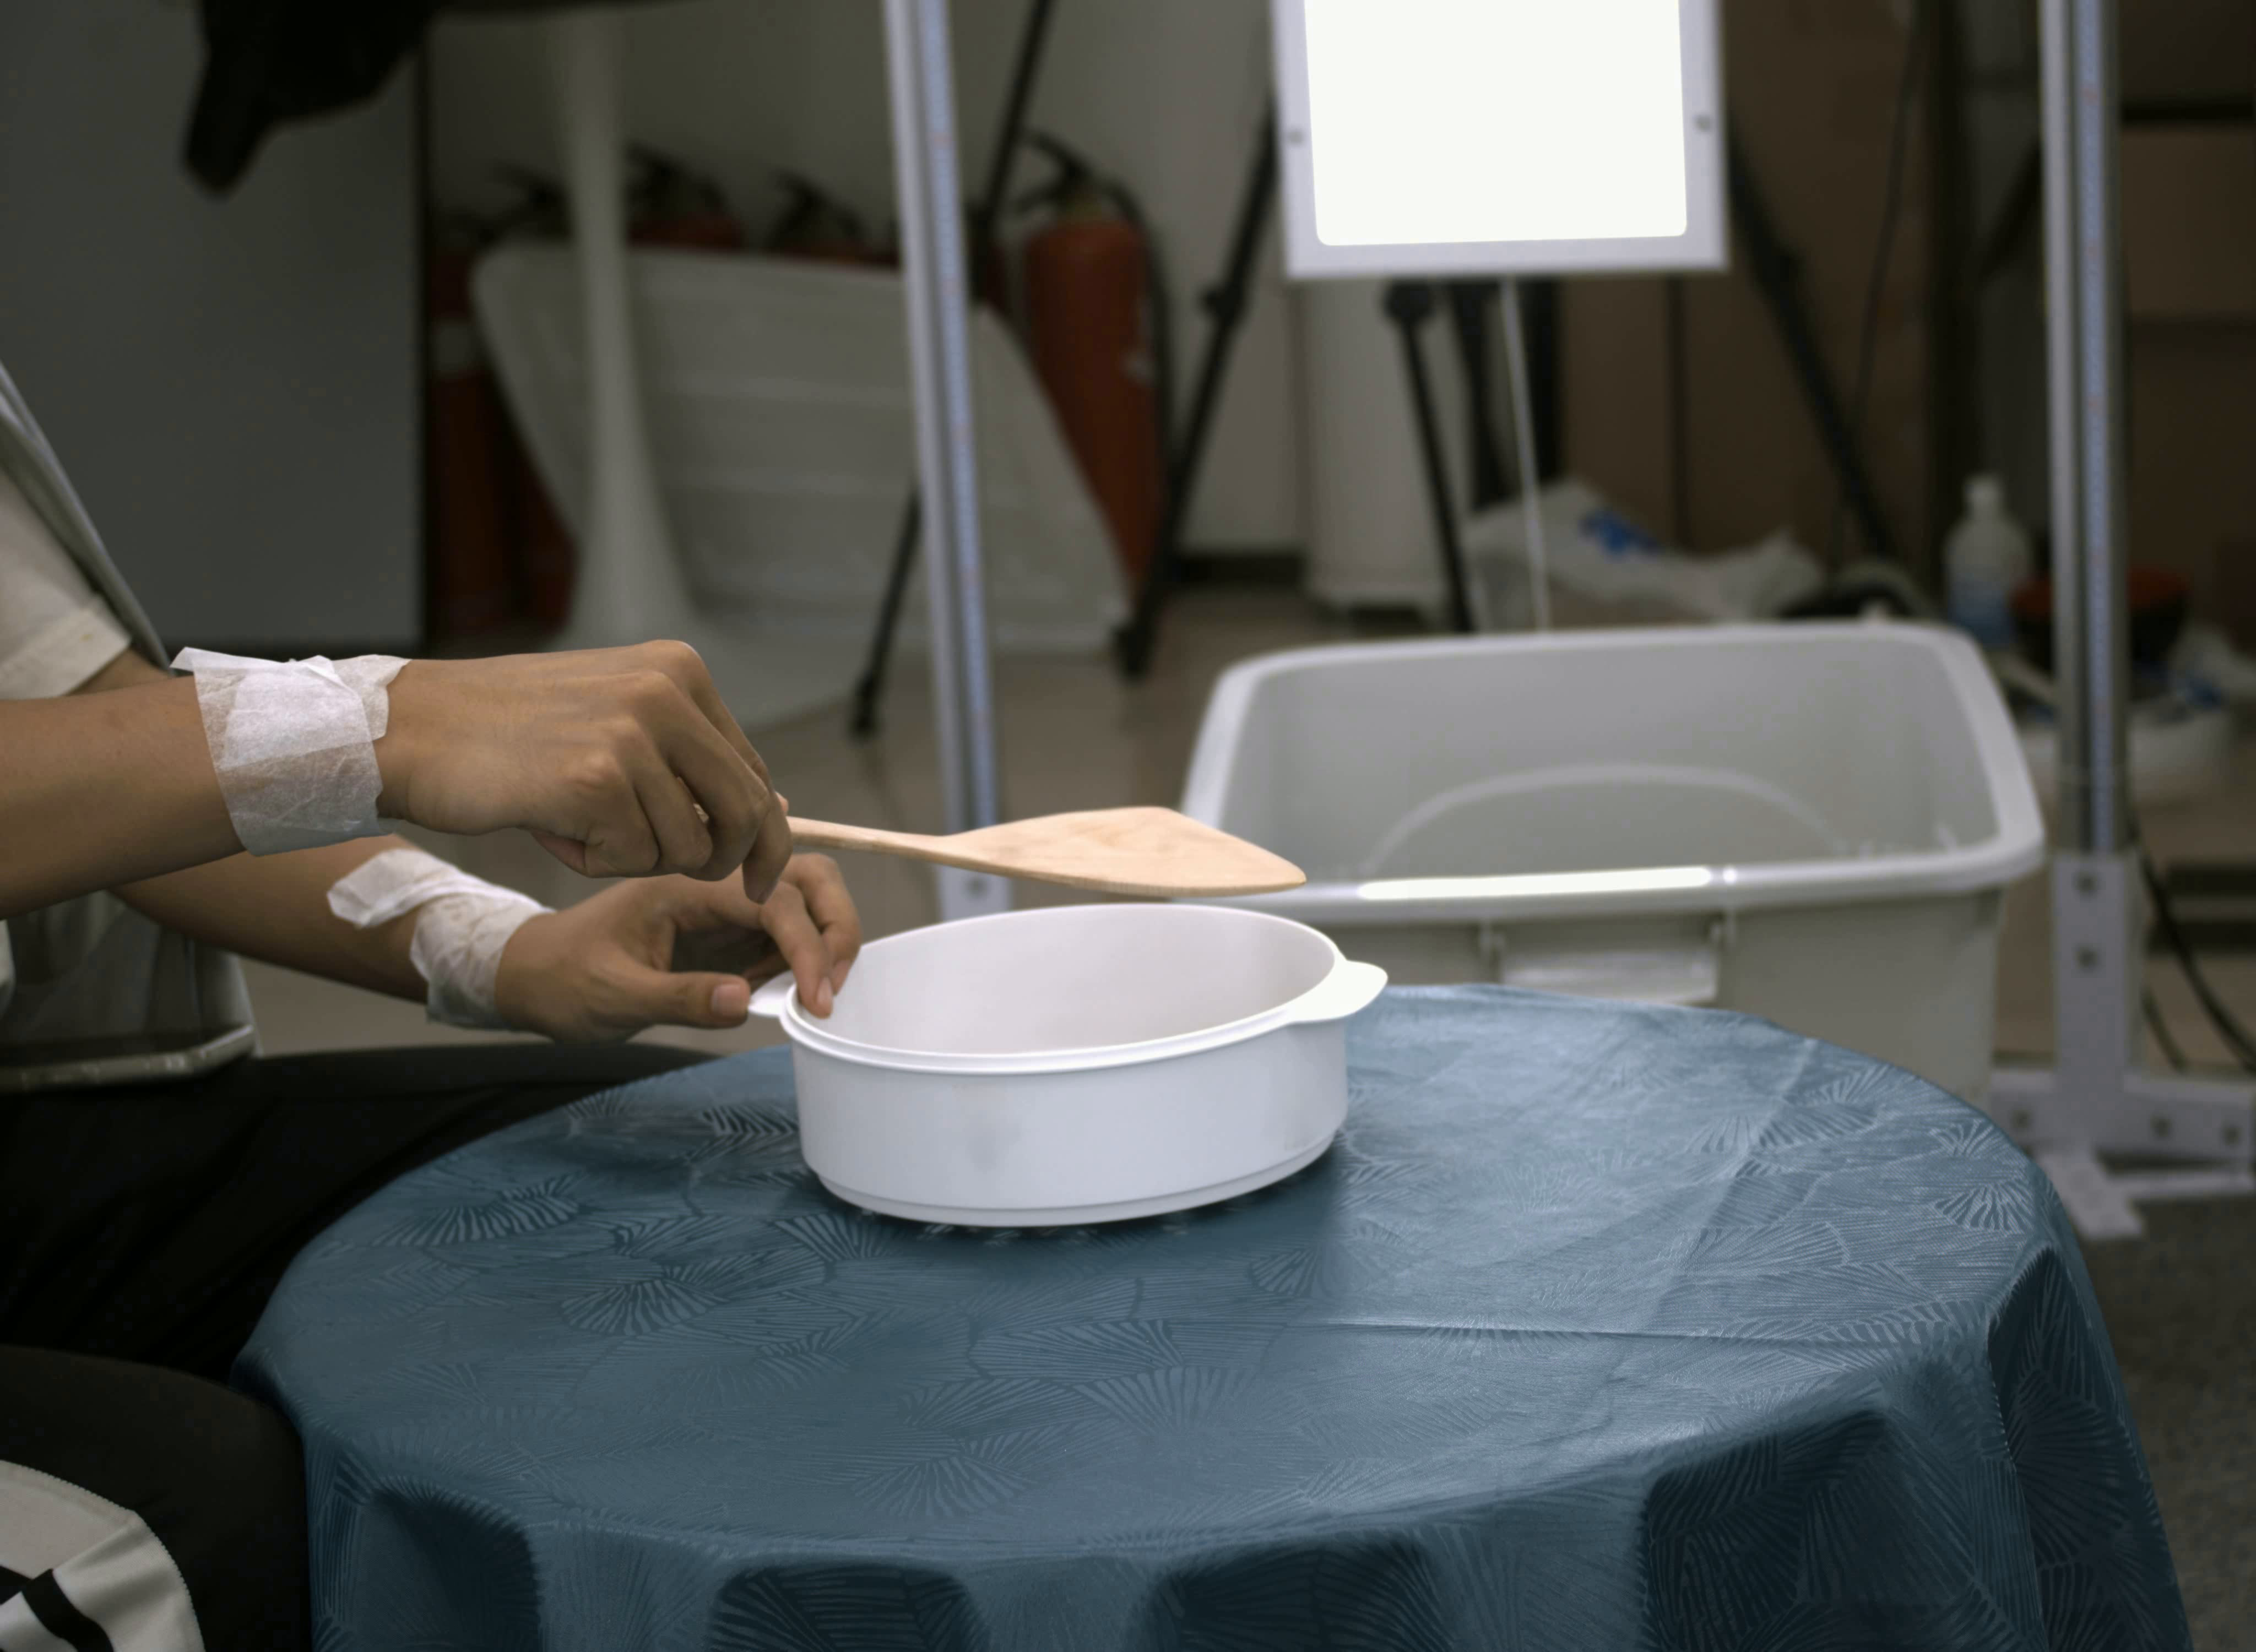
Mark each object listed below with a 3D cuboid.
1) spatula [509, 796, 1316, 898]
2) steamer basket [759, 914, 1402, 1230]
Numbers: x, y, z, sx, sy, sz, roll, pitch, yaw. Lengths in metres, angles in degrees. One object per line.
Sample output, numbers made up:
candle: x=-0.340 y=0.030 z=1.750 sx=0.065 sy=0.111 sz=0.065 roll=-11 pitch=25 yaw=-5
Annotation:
spatula: x=-0.074 y=0.002 z=1.844 sx=0.319 sy=0.016 sz=0.081 roll=5 pitch=16 yaw=-42
steamer basket: x=-0.015 y=0.086 z=1.932 sx=0.234 sy=0.069 sz=0.198 roll=-1 pitch=13 yaw=20
